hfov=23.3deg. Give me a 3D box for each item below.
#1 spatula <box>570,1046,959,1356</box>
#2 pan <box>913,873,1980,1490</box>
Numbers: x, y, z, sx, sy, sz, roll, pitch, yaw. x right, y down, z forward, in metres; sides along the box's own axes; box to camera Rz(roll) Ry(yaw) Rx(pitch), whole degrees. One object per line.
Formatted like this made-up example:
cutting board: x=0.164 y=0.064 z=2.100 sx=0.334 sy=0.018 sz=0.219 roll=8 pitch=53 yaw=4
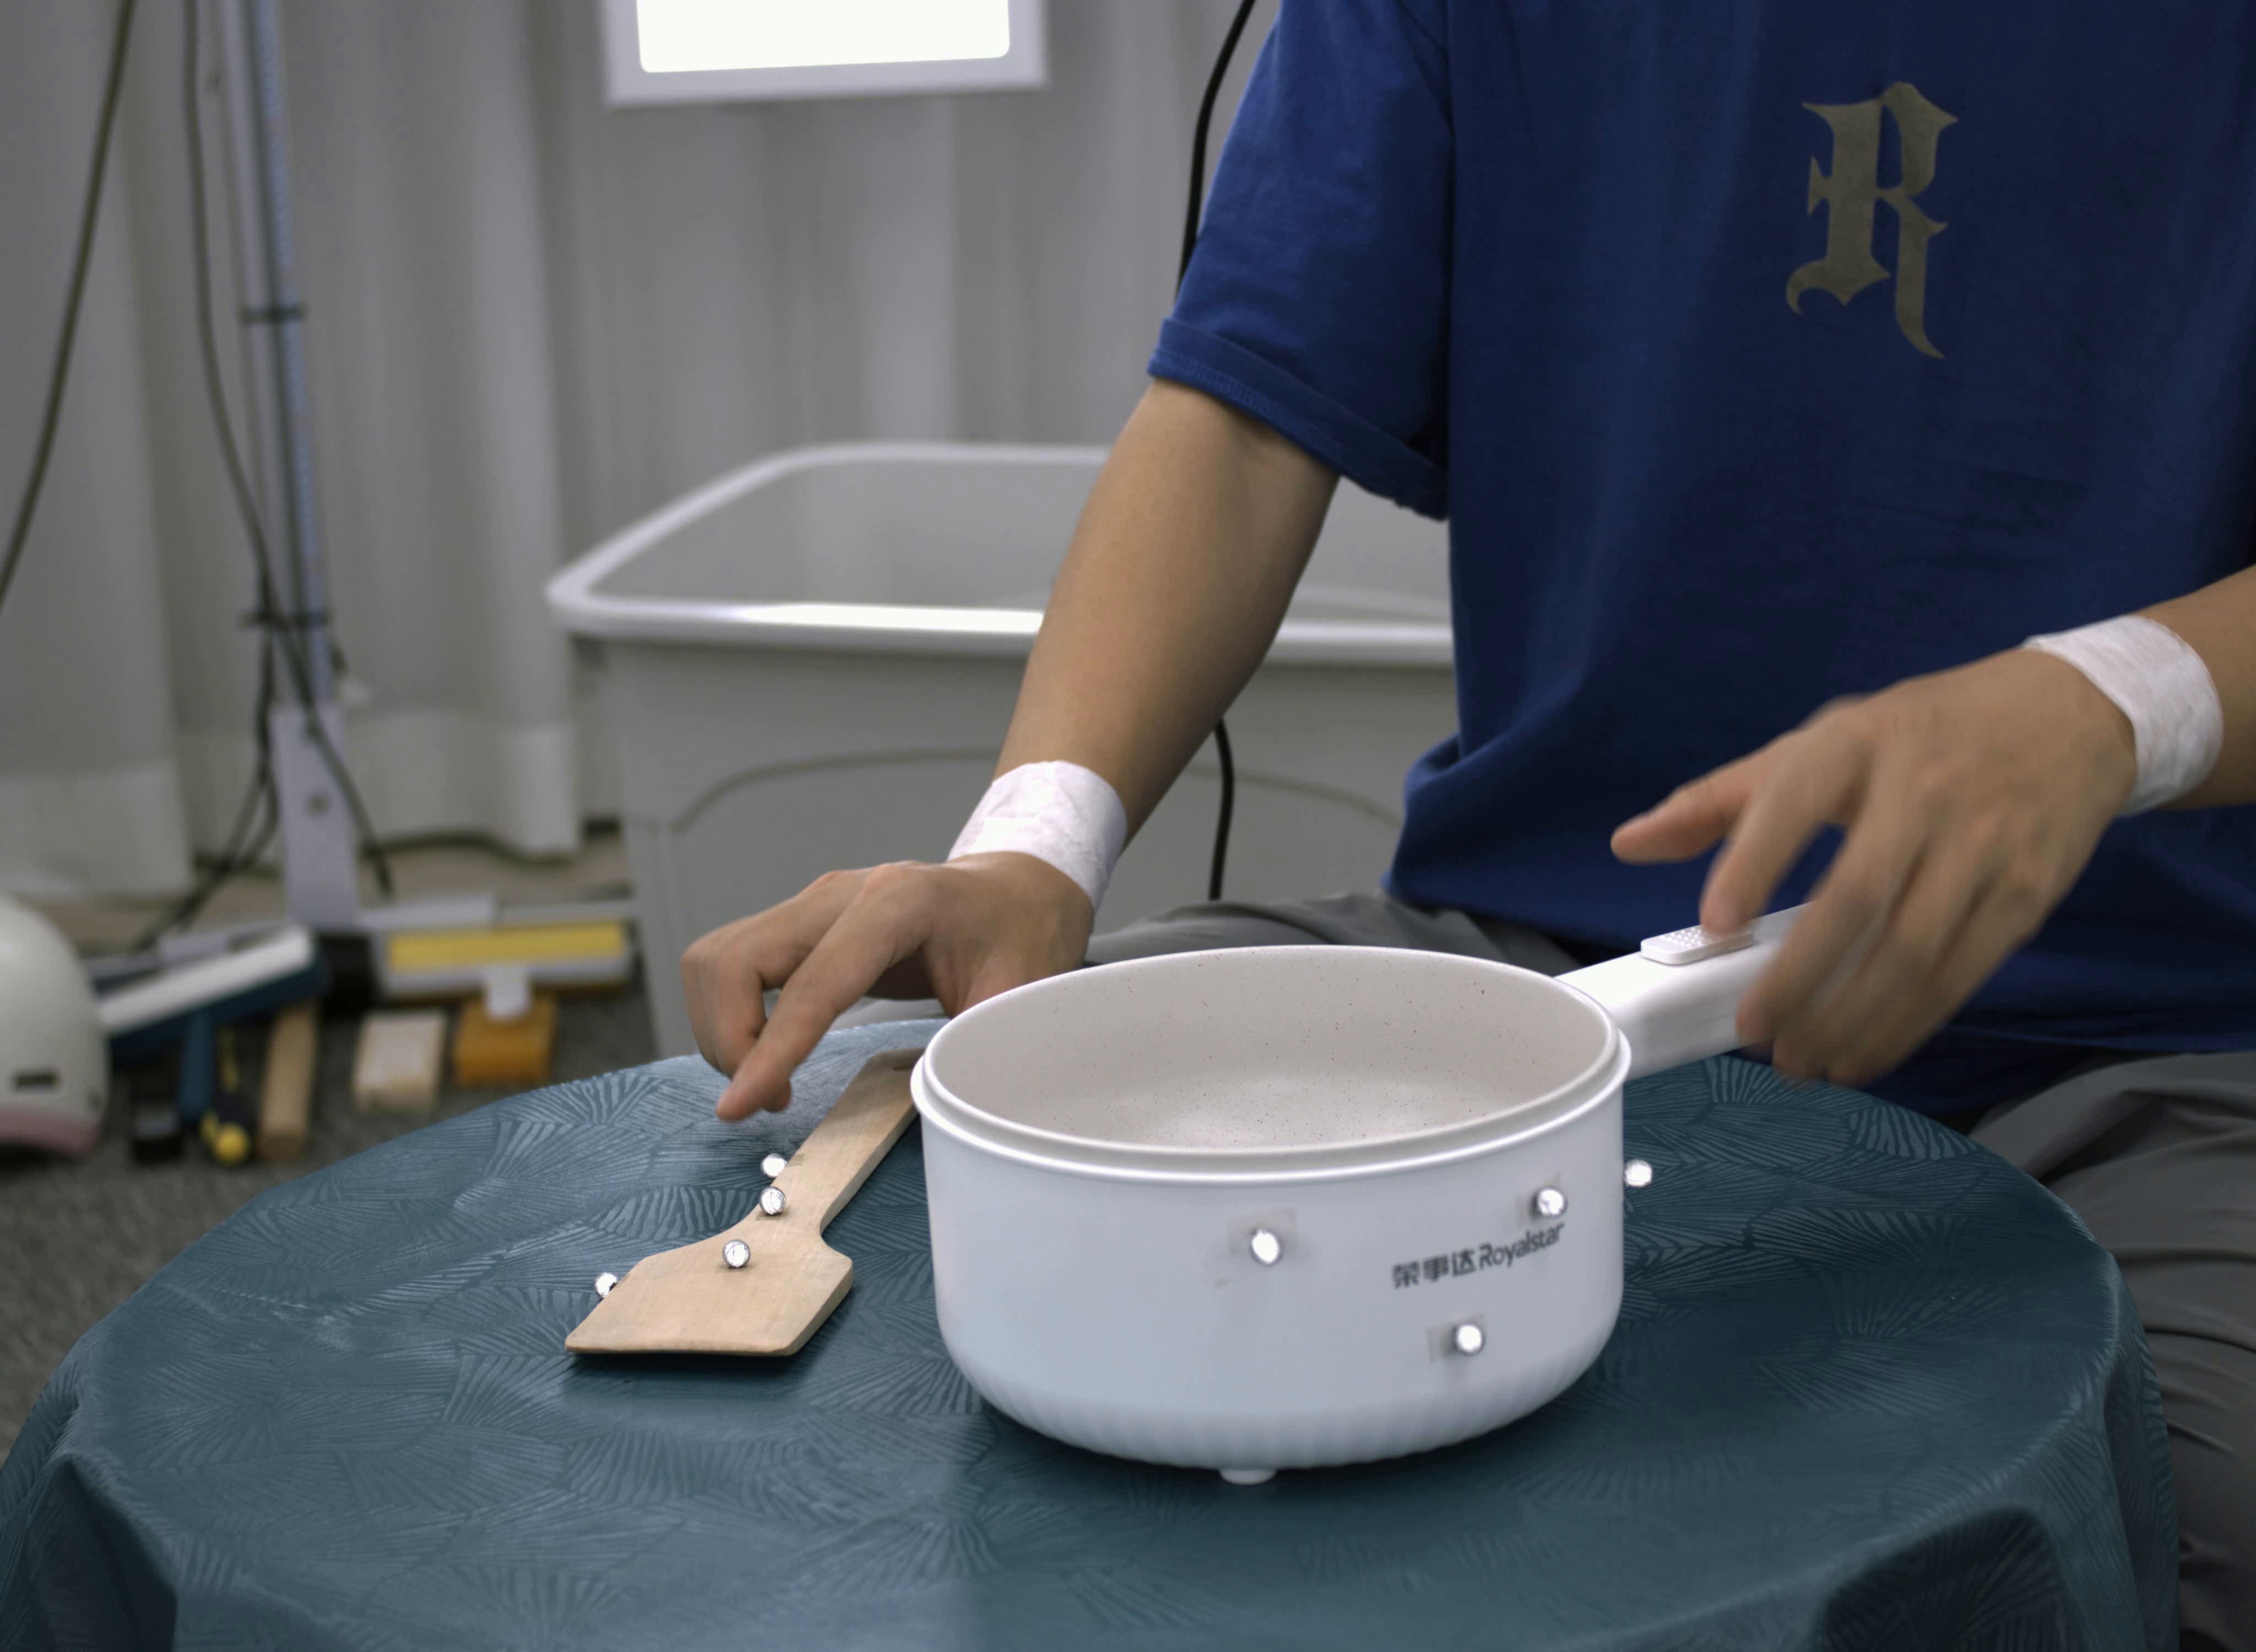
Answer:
spatula: x=-0.100 y=0.115 z=1.710 sx=0.072 sy=0.010 sz=0.294 roll=0 pitch=15 yaw=12
pan: x=0.105 y=0.096 z=1.574 sx=0.353 sy=0.102 sz=0.202 roll=-13 pitch=16 yaw=-34
